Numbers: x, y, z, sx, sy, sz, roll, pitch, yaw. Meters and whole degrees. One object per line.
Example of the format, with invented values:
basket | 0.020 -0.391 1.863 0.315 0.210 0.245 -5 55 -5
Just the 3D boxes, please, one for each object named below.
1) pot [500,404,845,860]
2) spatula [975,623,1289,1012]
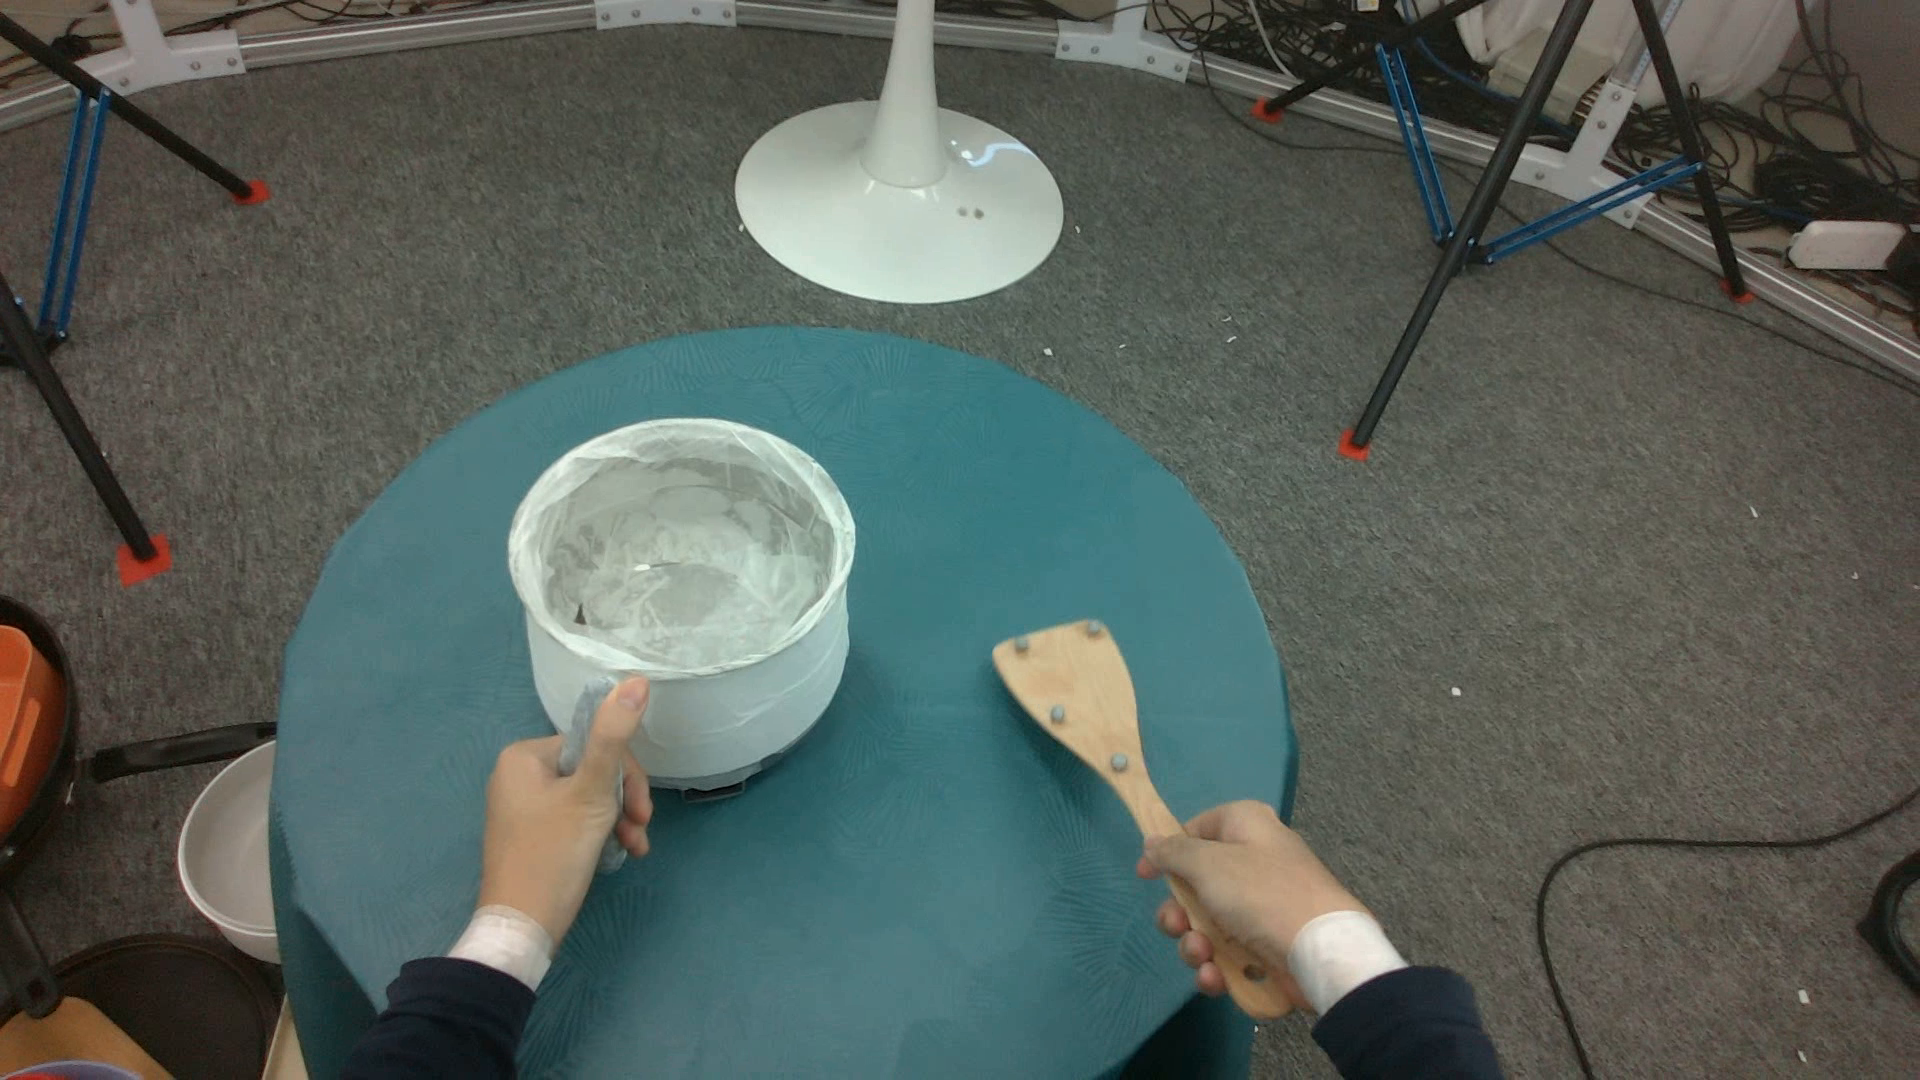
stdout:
pot | -0.162 0.051 0.748 0.178 0.136 0.235 14 48 4
spatula | 0.085 0.128 0.717 0.080 0.016 0.328 -8 25 -13
